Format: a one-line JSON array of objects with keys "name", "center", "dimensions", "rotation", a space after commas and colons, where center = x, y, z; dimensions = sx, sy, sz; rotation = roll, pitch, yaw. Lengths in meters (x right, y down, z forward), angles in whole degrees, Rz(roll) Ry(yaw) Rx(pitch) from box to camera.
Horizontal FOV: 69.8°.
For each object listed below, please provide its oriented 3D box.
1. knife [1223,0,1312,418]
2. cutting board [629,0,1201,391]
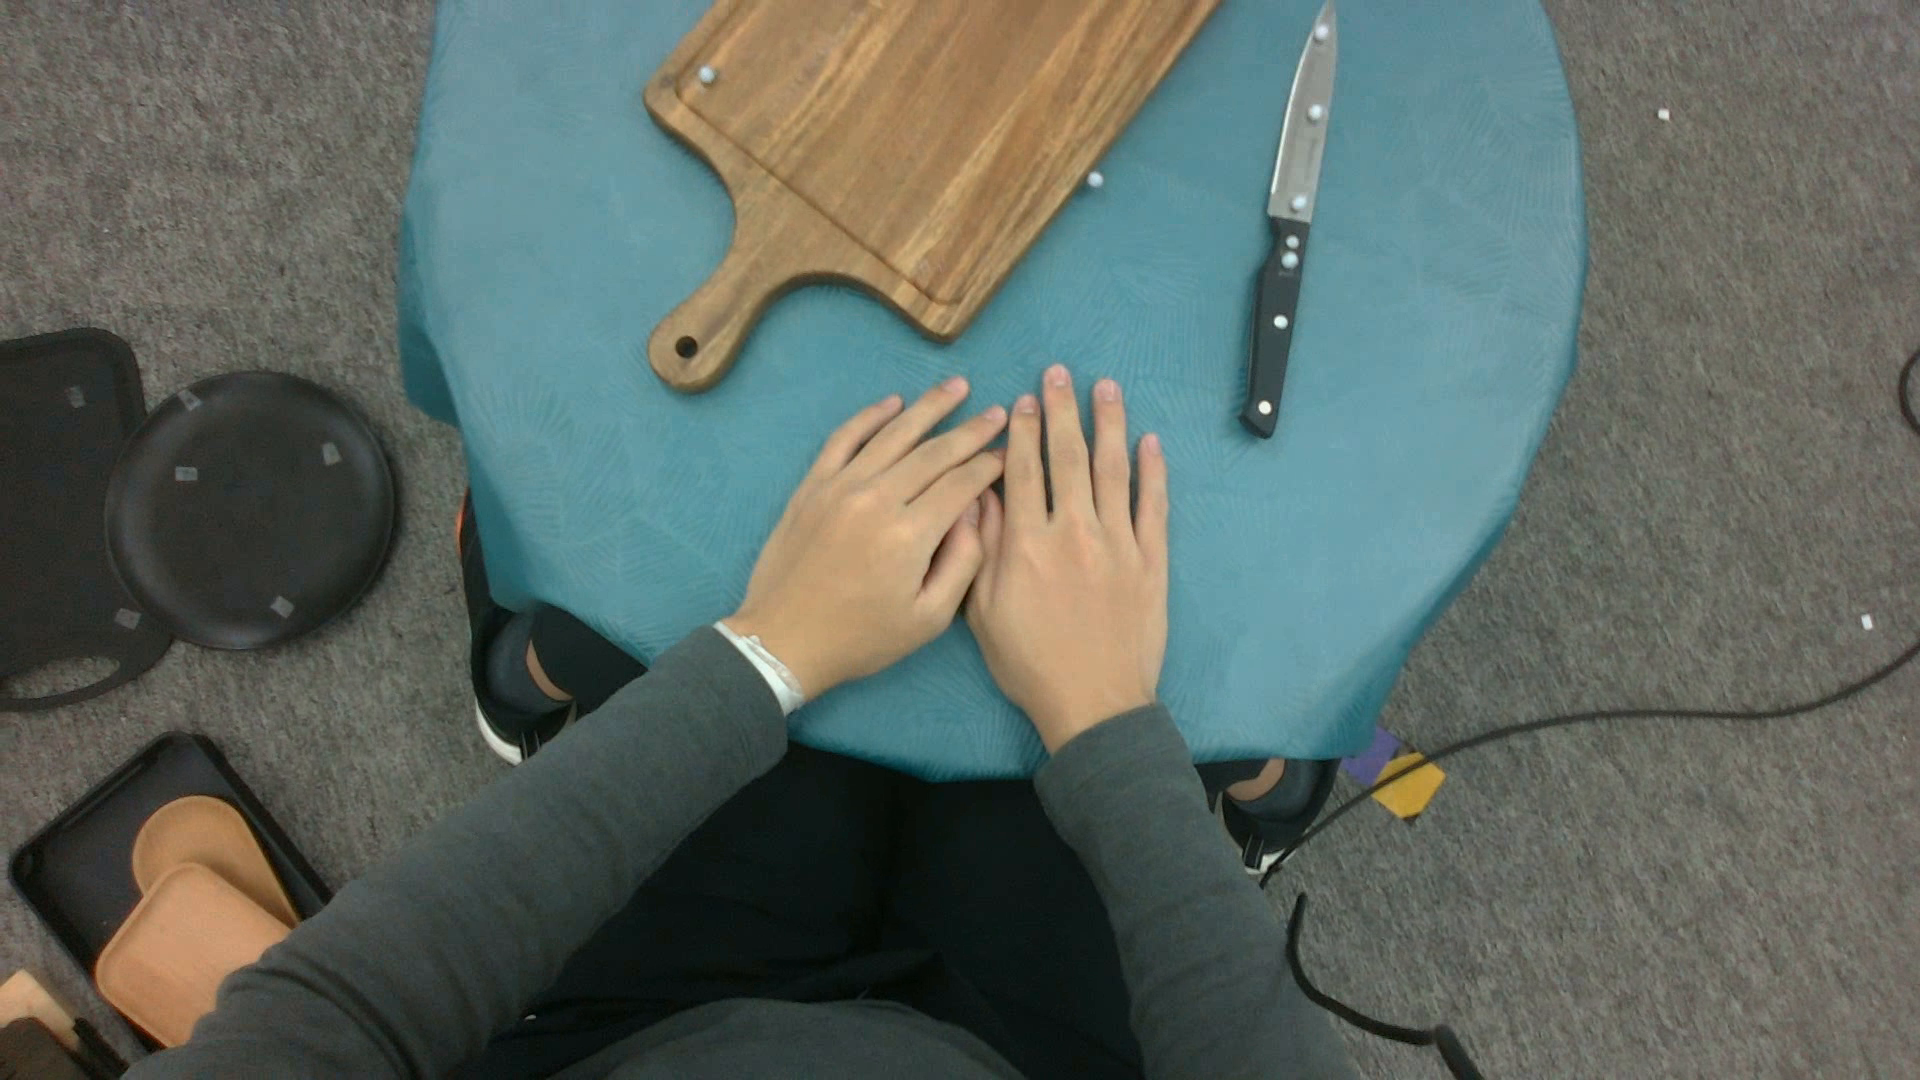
[{"name": "knife", "center": [0.163, -0.175, 0.708], "dimensions": [0.024, 0.016, 0.238], "rotation": [11, 80, -2]}, {"name": "cutting board", "center": [-0.045, -0.218, 0.695], "dimensions": [0.201, 0.023, 0.352], "rotation": [37, 82, 2]}]
